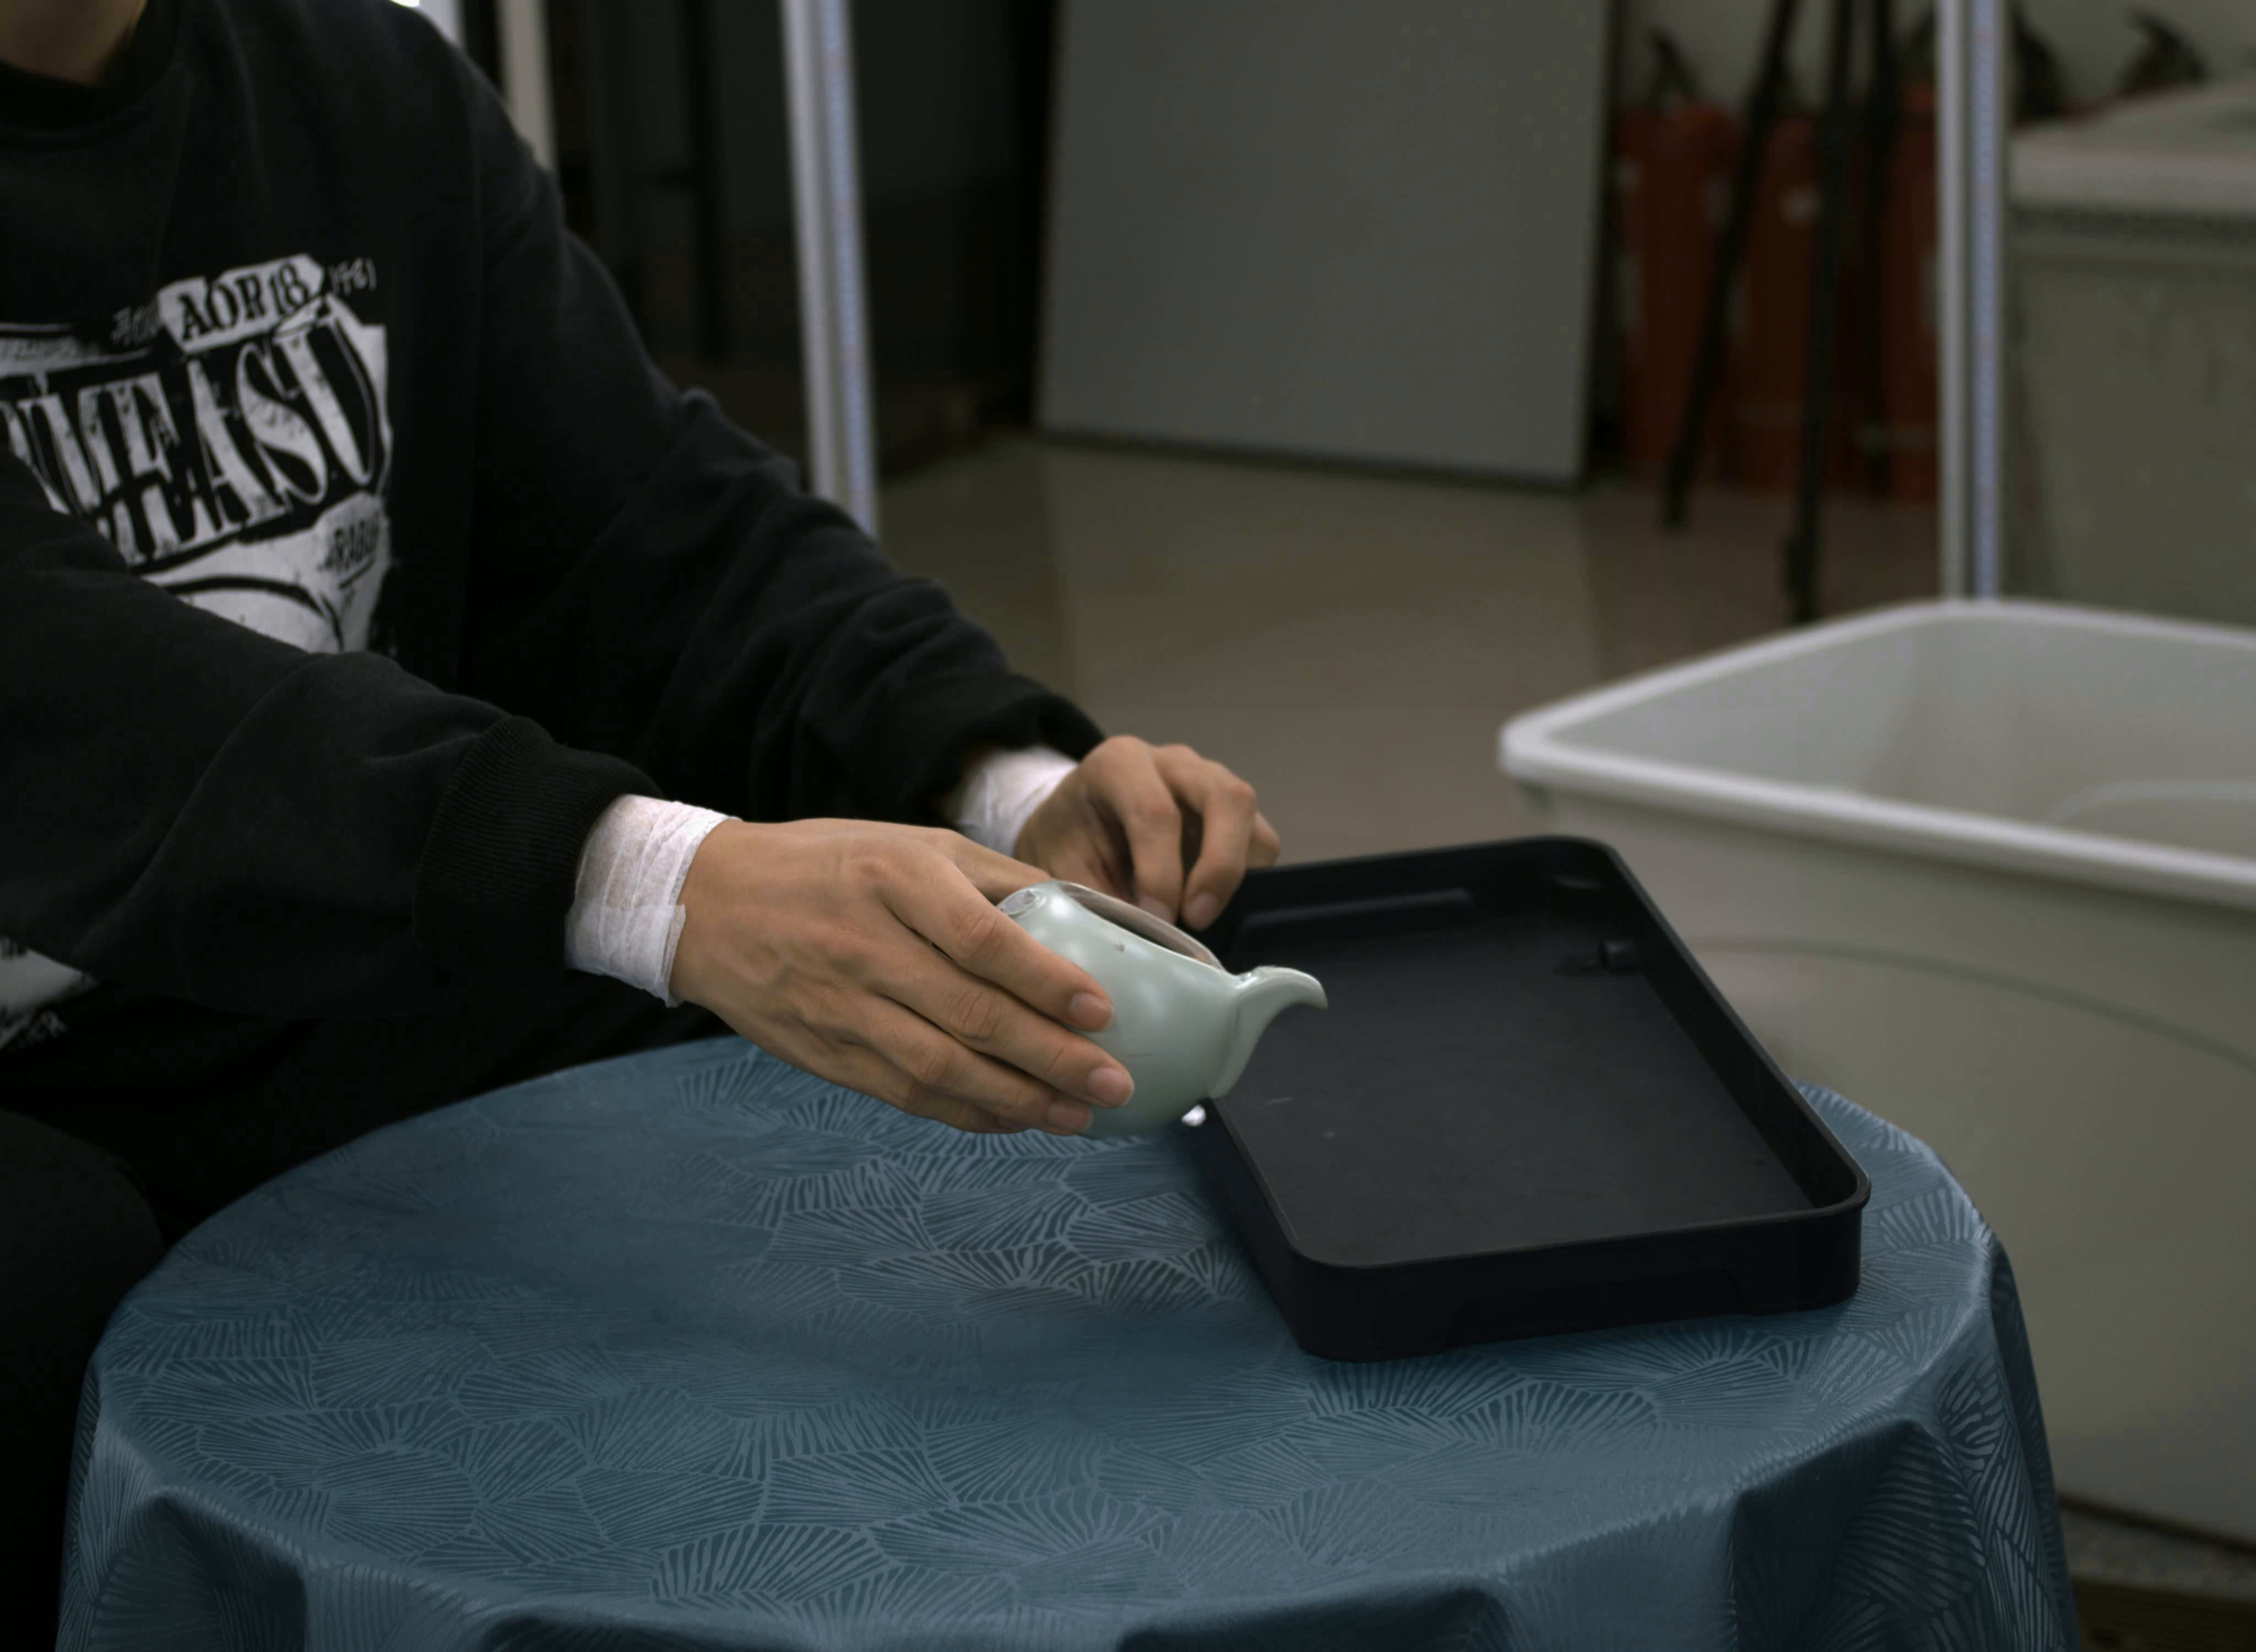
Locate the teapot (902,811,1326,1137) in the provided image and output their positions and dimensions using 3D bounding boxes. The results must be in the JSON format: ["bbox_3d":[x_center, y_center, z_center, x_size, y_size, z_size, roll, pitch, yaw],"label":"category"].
[{"bbox_3d":[-0.011,0.053,1.660,0.141,0.075,0.089,25,6,-21],"label":"teapot"}]

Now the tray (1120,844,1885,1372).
[{"bbox_3d":[0.111,0.085,1.741,0.181,0.037,0.320,-7,21,-10],"label":"tray"}]
